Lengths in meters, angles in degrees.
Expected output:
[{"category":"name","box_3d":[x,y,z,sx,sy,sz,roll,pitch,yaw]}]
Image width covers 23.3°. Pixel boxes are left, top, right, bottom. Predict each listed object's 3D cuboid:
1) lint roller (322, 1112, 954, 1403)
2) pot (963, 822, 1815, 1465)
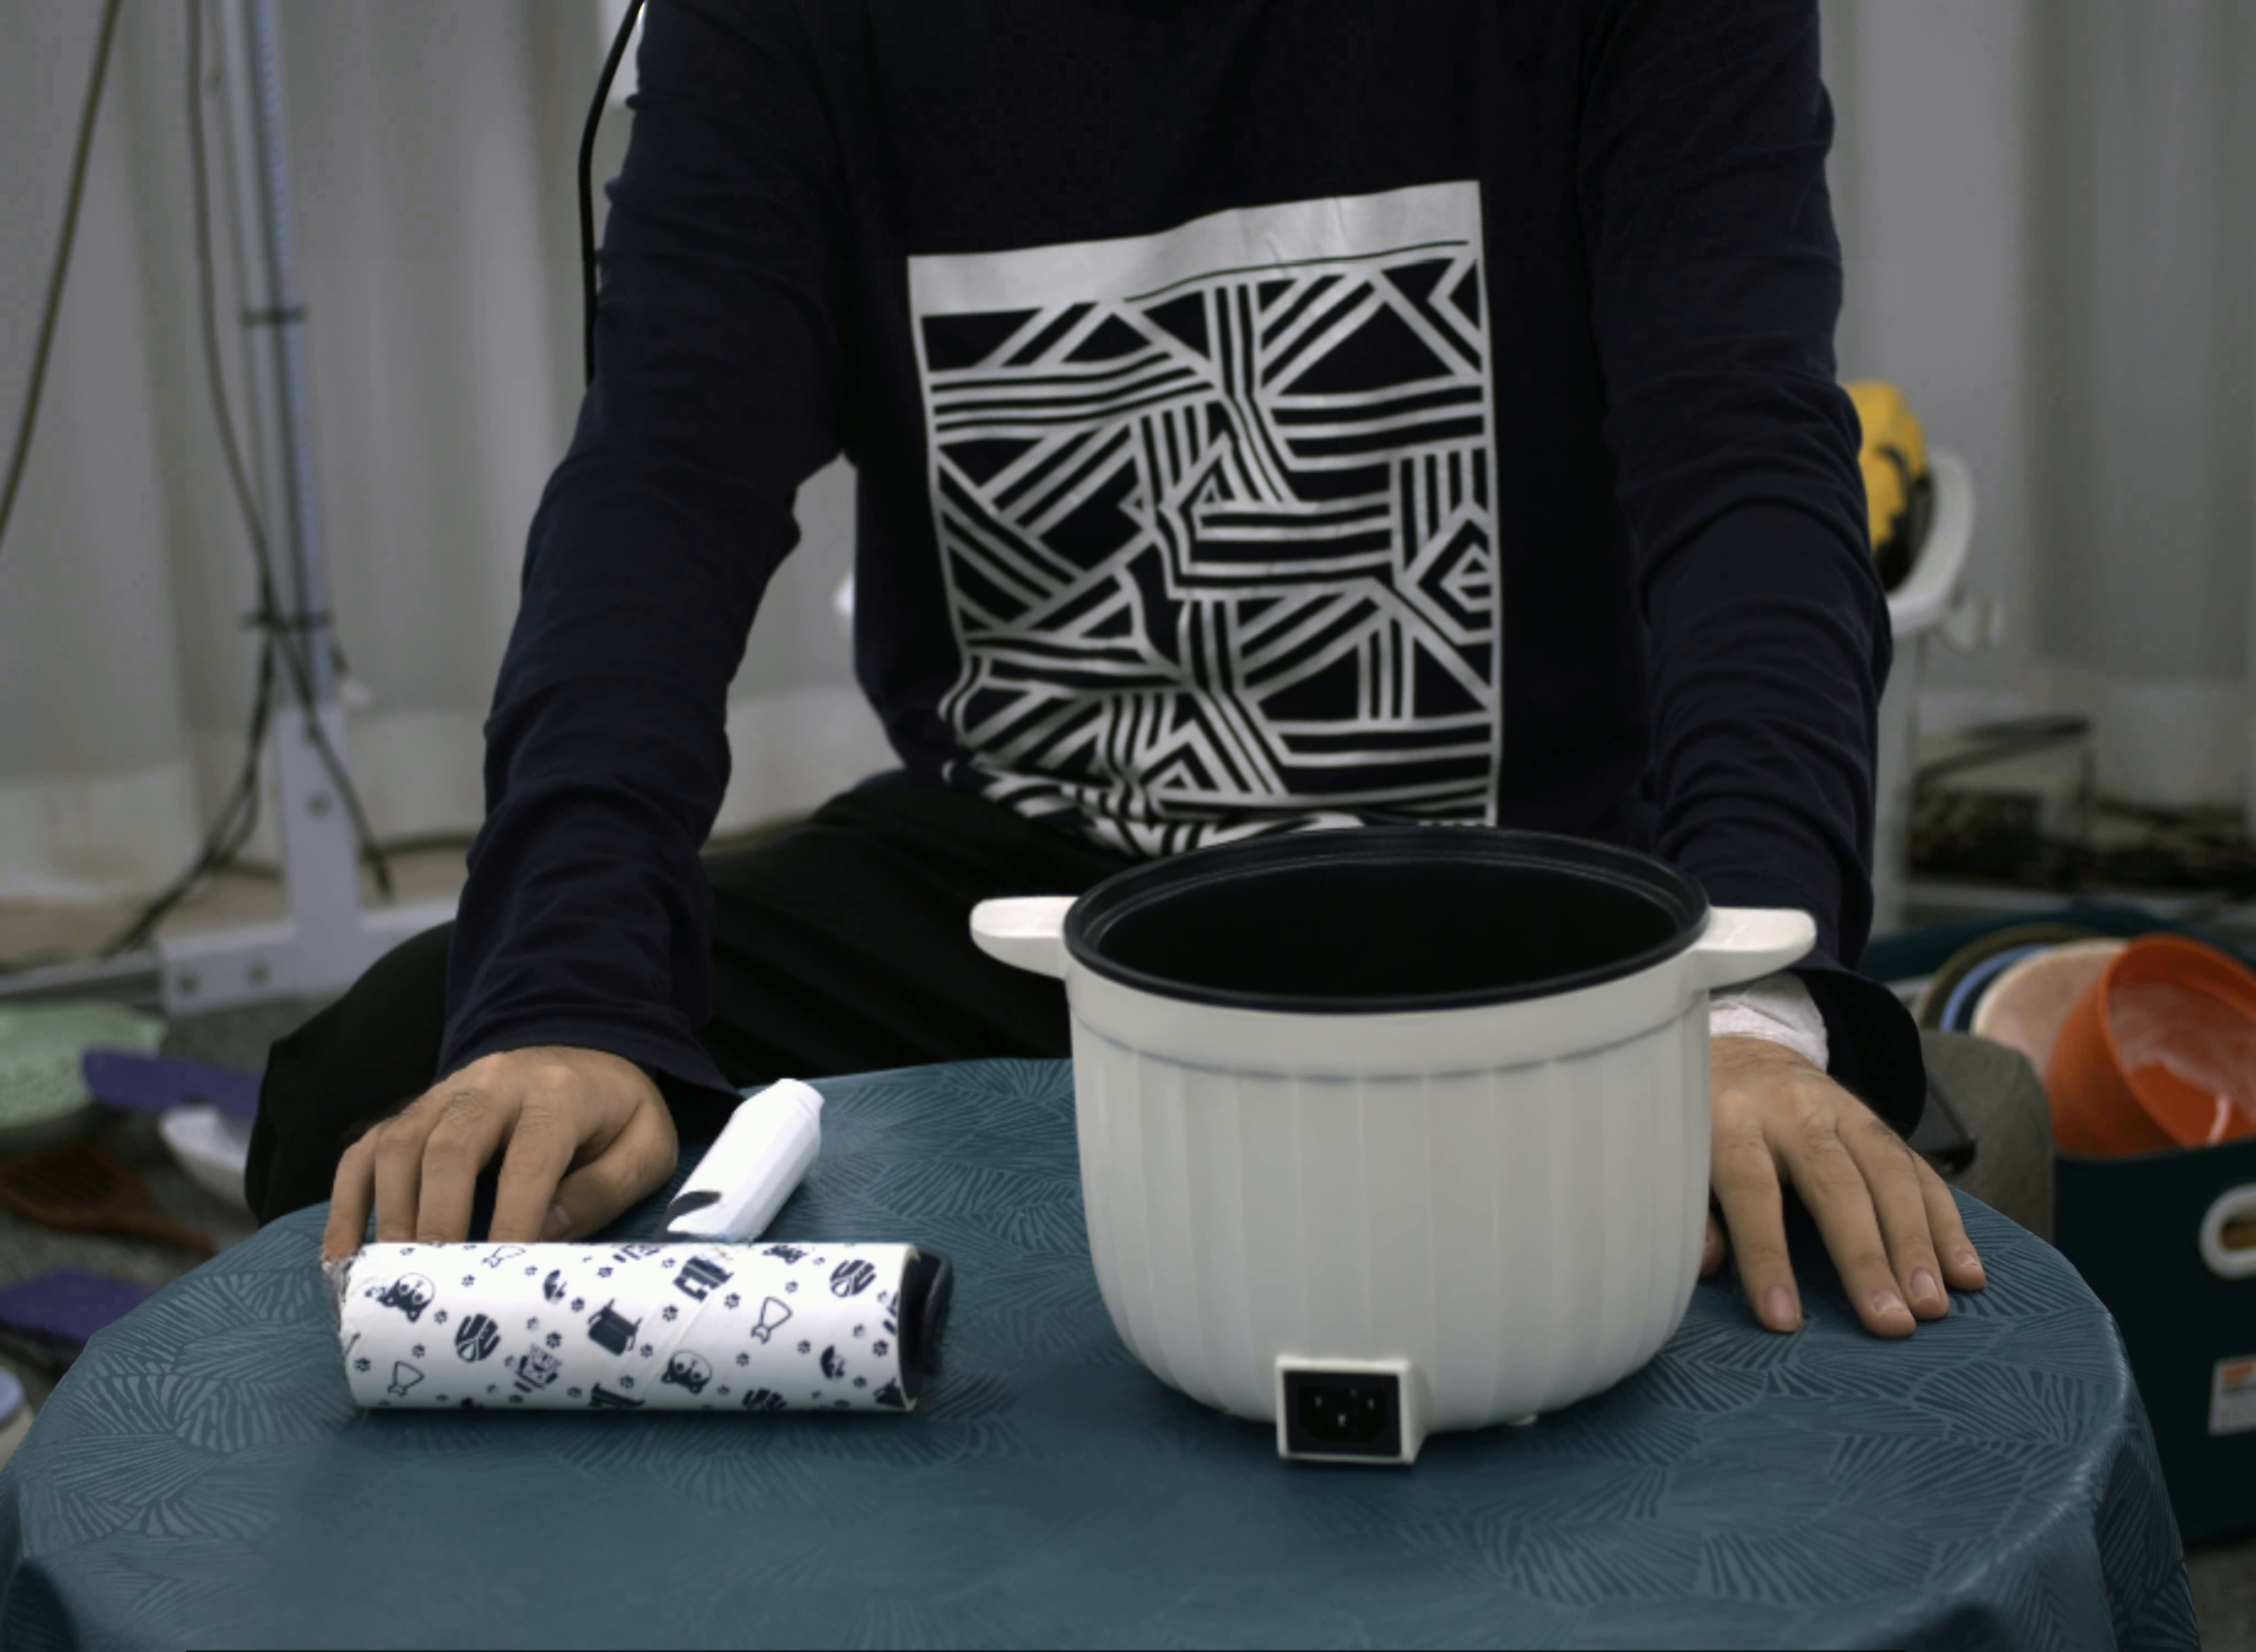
[{"category":"lint roller","box_3d":[-0.127,0.119,1.648,0.176,0.050,0.248,-2,12,8]},{"category":"pot","box_3d":[0.074,0.086,1.544,0.240,0.142,0.191,2,17,12]}]
